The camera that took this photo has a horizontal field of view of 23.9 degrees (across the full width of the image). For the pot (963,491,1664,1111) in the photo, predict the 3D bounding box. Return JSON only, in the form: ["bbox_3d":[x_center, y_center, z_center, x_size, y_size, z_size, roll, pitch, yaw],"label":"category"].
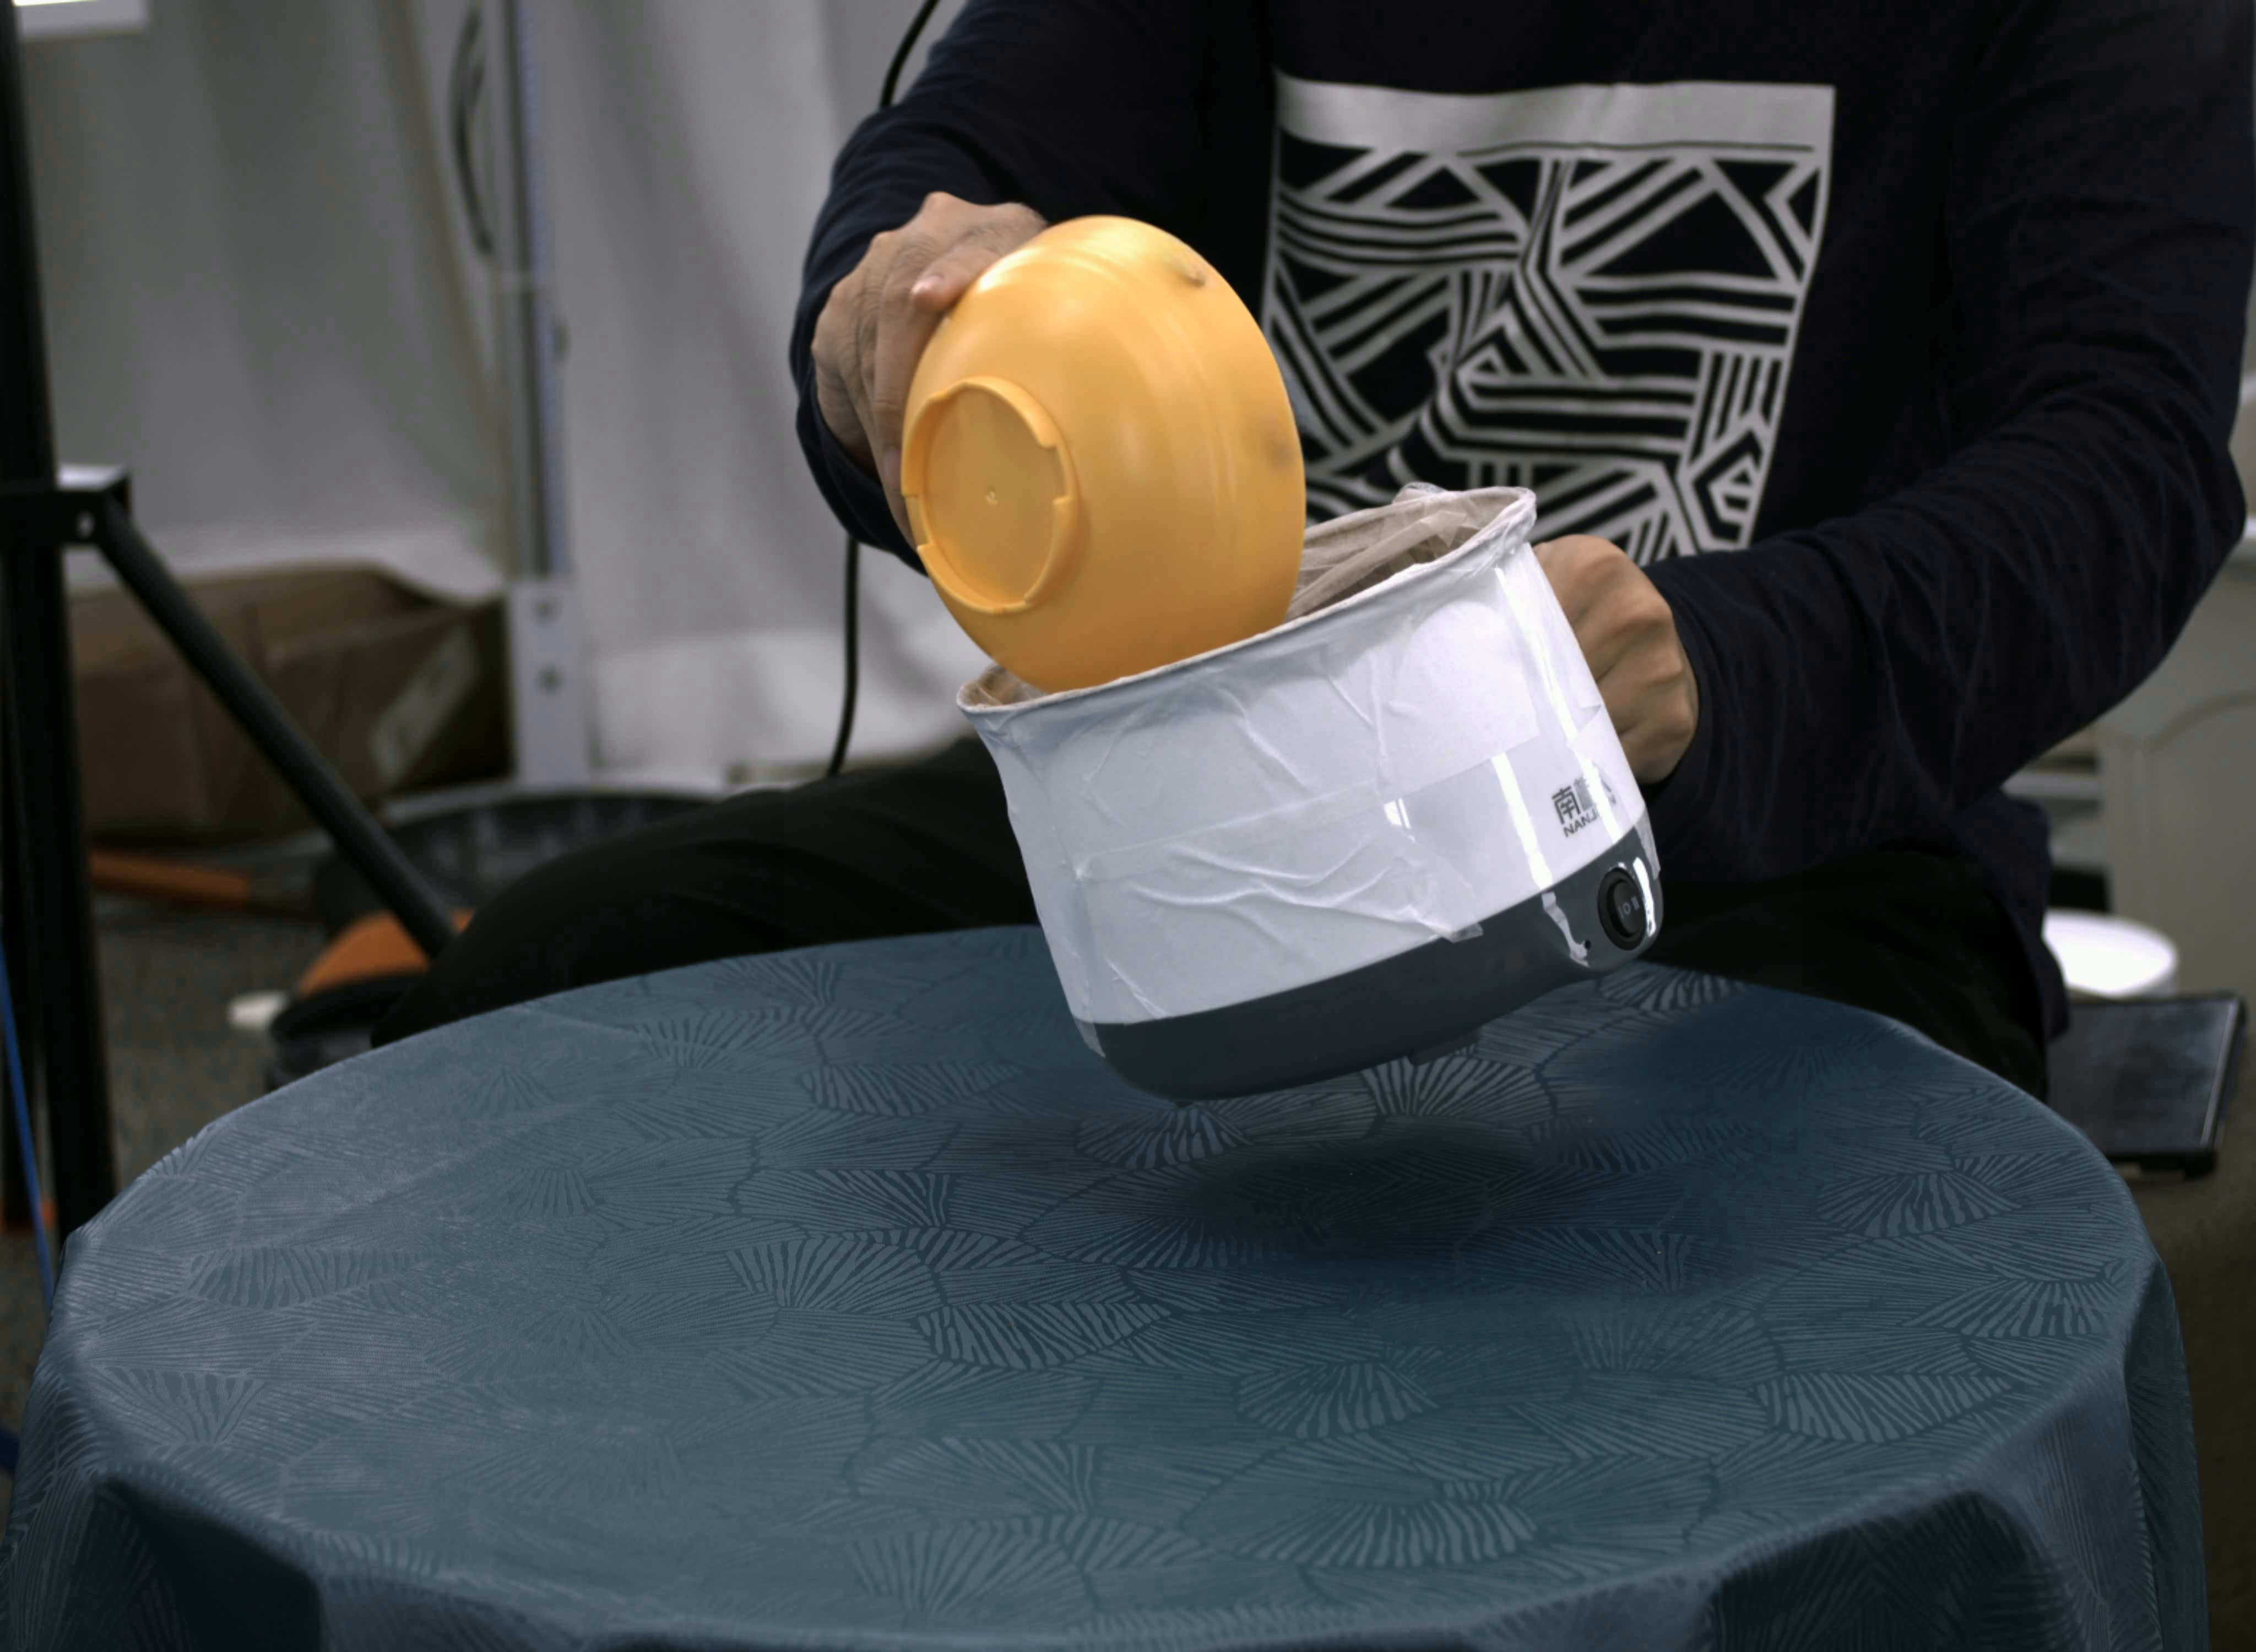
[{"bbox_3d":[0.071,-0.014,1.554,0.182,0.136,0.229,-13,9,38],"label":"pot"}]

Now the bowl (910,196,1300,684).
[{"bbox_3d":[-0.019,-0.101,1.511,0.059,0.145,0.148,-17,21,-36],"label":"bowl"}]
